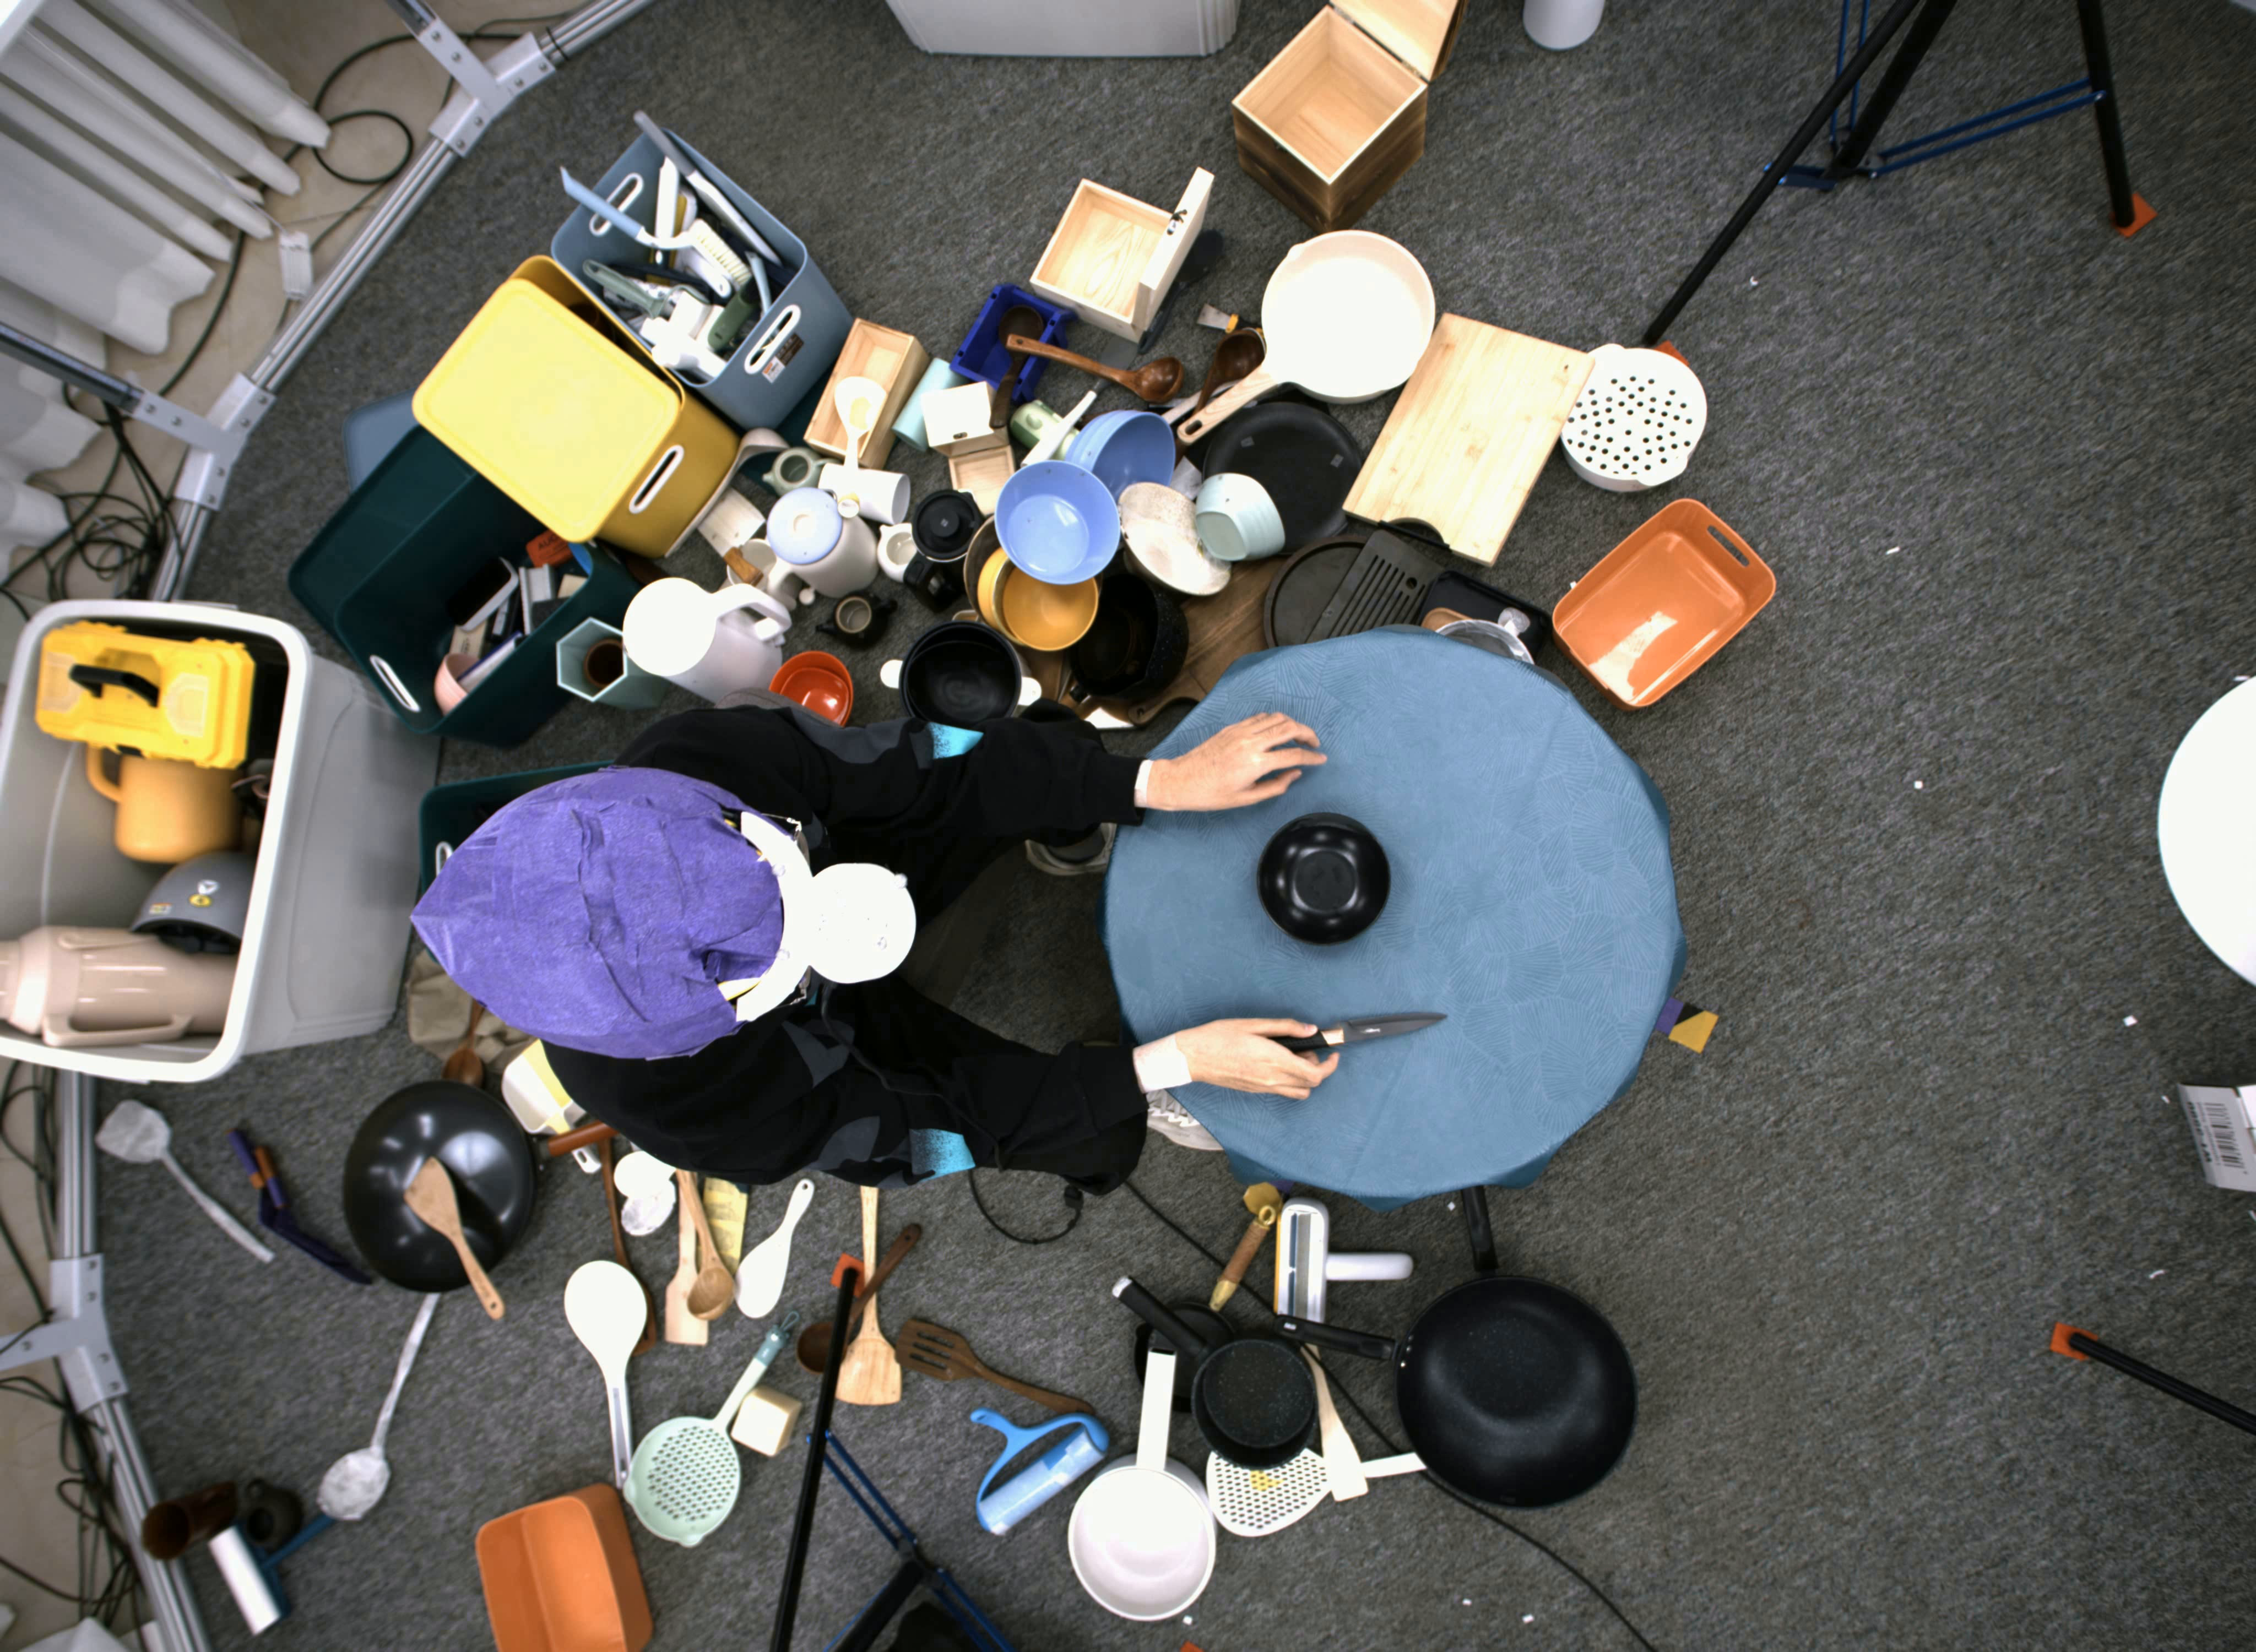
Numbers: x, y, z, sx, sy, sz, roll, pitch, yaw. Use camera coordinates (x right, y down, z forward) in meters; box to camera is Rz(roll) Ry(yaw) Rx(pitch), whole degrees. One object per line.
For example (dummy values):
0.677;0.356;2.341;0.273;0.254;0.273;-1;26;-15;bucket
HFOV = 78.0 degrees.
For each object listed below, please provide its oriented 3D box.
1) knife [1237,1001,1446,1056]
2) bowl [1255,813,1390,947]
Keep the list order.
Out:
0.223;0.210;1.441;0.226;0.017;0.026;-10;69;0;knife
0.206;0.056;1.451;0.140;0.049;0.139;-1;89;14;bowl
